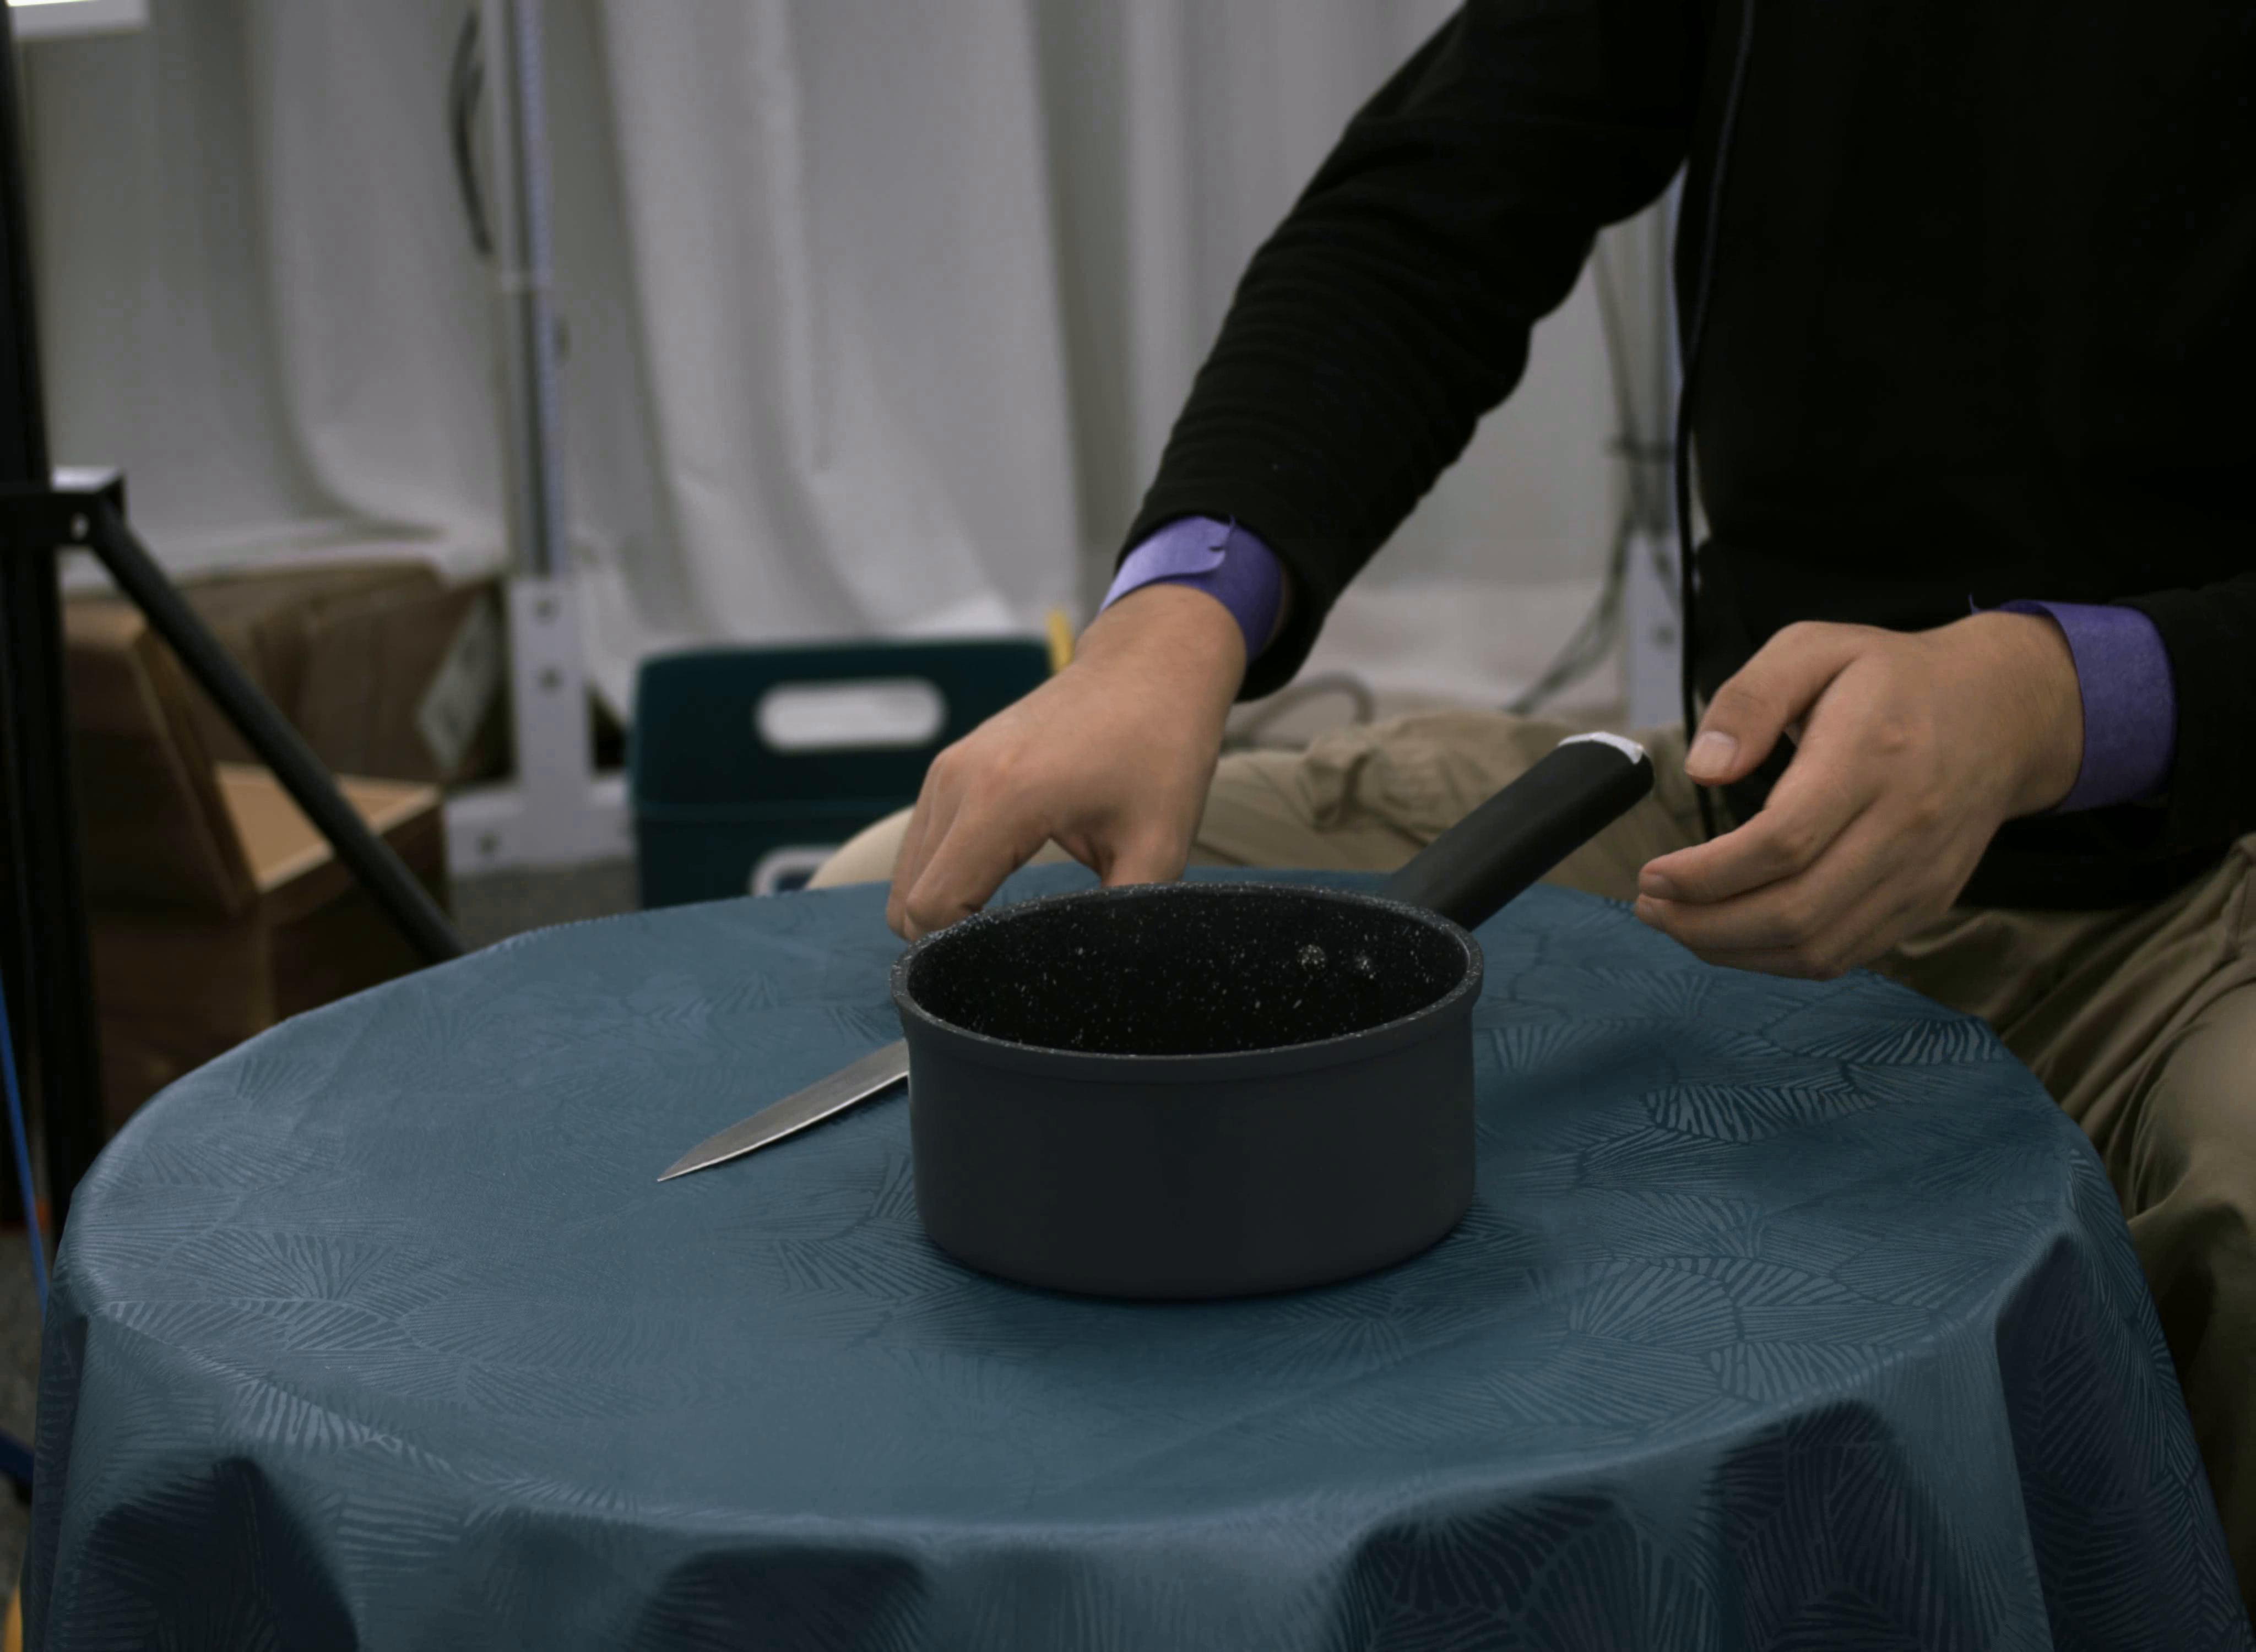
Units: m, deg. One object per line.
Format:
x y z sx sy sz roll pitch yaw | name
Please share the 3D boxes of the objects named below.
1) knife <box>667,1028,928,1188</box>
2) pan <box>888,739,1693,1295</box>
-0.069 0.073 1.671 0.025 0.016 0.233 9 22 36 | knife
0.066 0.053 1.584 0.176 0.086 0.322 10 21 38 | pan
